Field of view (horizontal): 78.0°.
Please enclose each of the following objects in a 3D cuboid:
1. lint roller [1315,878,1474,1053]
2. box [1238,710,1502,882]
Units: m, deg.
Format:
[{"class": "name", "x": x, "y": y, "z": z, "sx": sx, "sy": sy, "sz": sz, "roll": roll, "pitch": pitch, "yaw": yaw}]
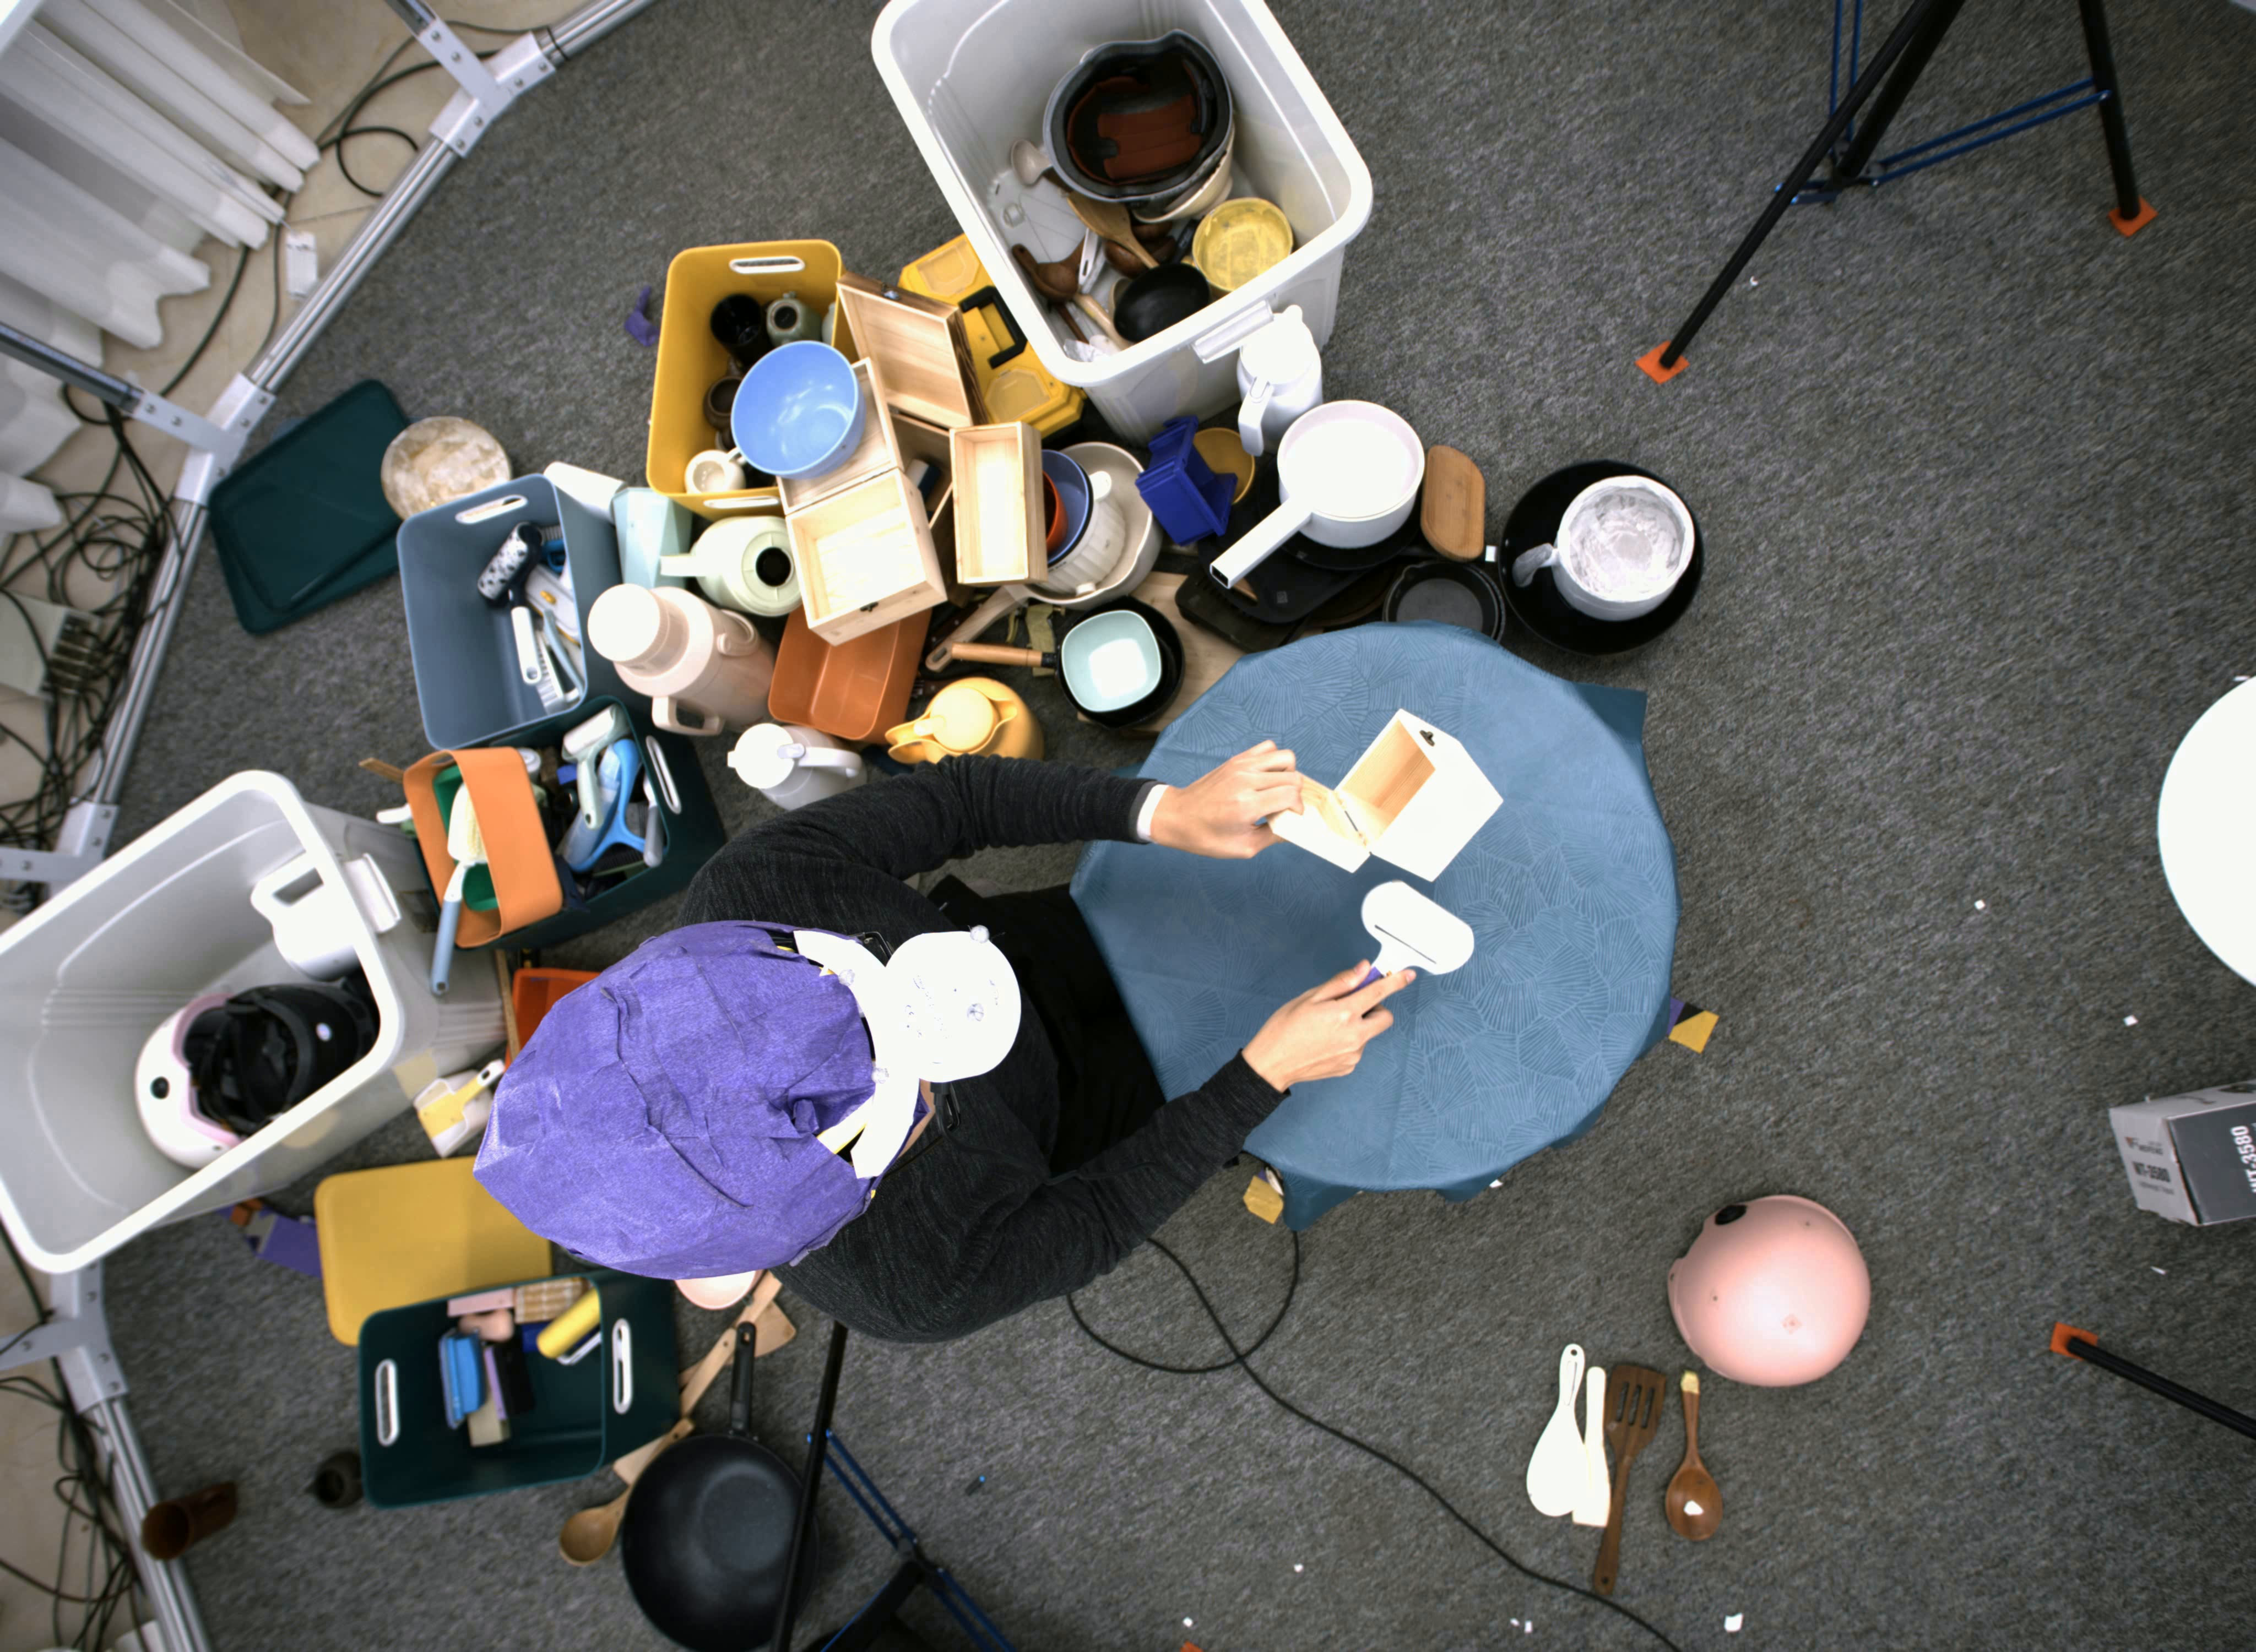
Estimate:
[{"class": "lint roller", "x": 0.236, "y": 0.142, "z": 1.289, "sx": 0.134, "sy": 0.049, "sz": 0.181, "roll": 30, "pitch": 96, "yaw": -34}, {"class": "box", "x": 0.215, "y": -0.040, "z": 1.234, "sx": 0.185, "sy": 0.100, "sz": 0.136, "roll": 22, "pitch": 117, "yaw": -28}]
